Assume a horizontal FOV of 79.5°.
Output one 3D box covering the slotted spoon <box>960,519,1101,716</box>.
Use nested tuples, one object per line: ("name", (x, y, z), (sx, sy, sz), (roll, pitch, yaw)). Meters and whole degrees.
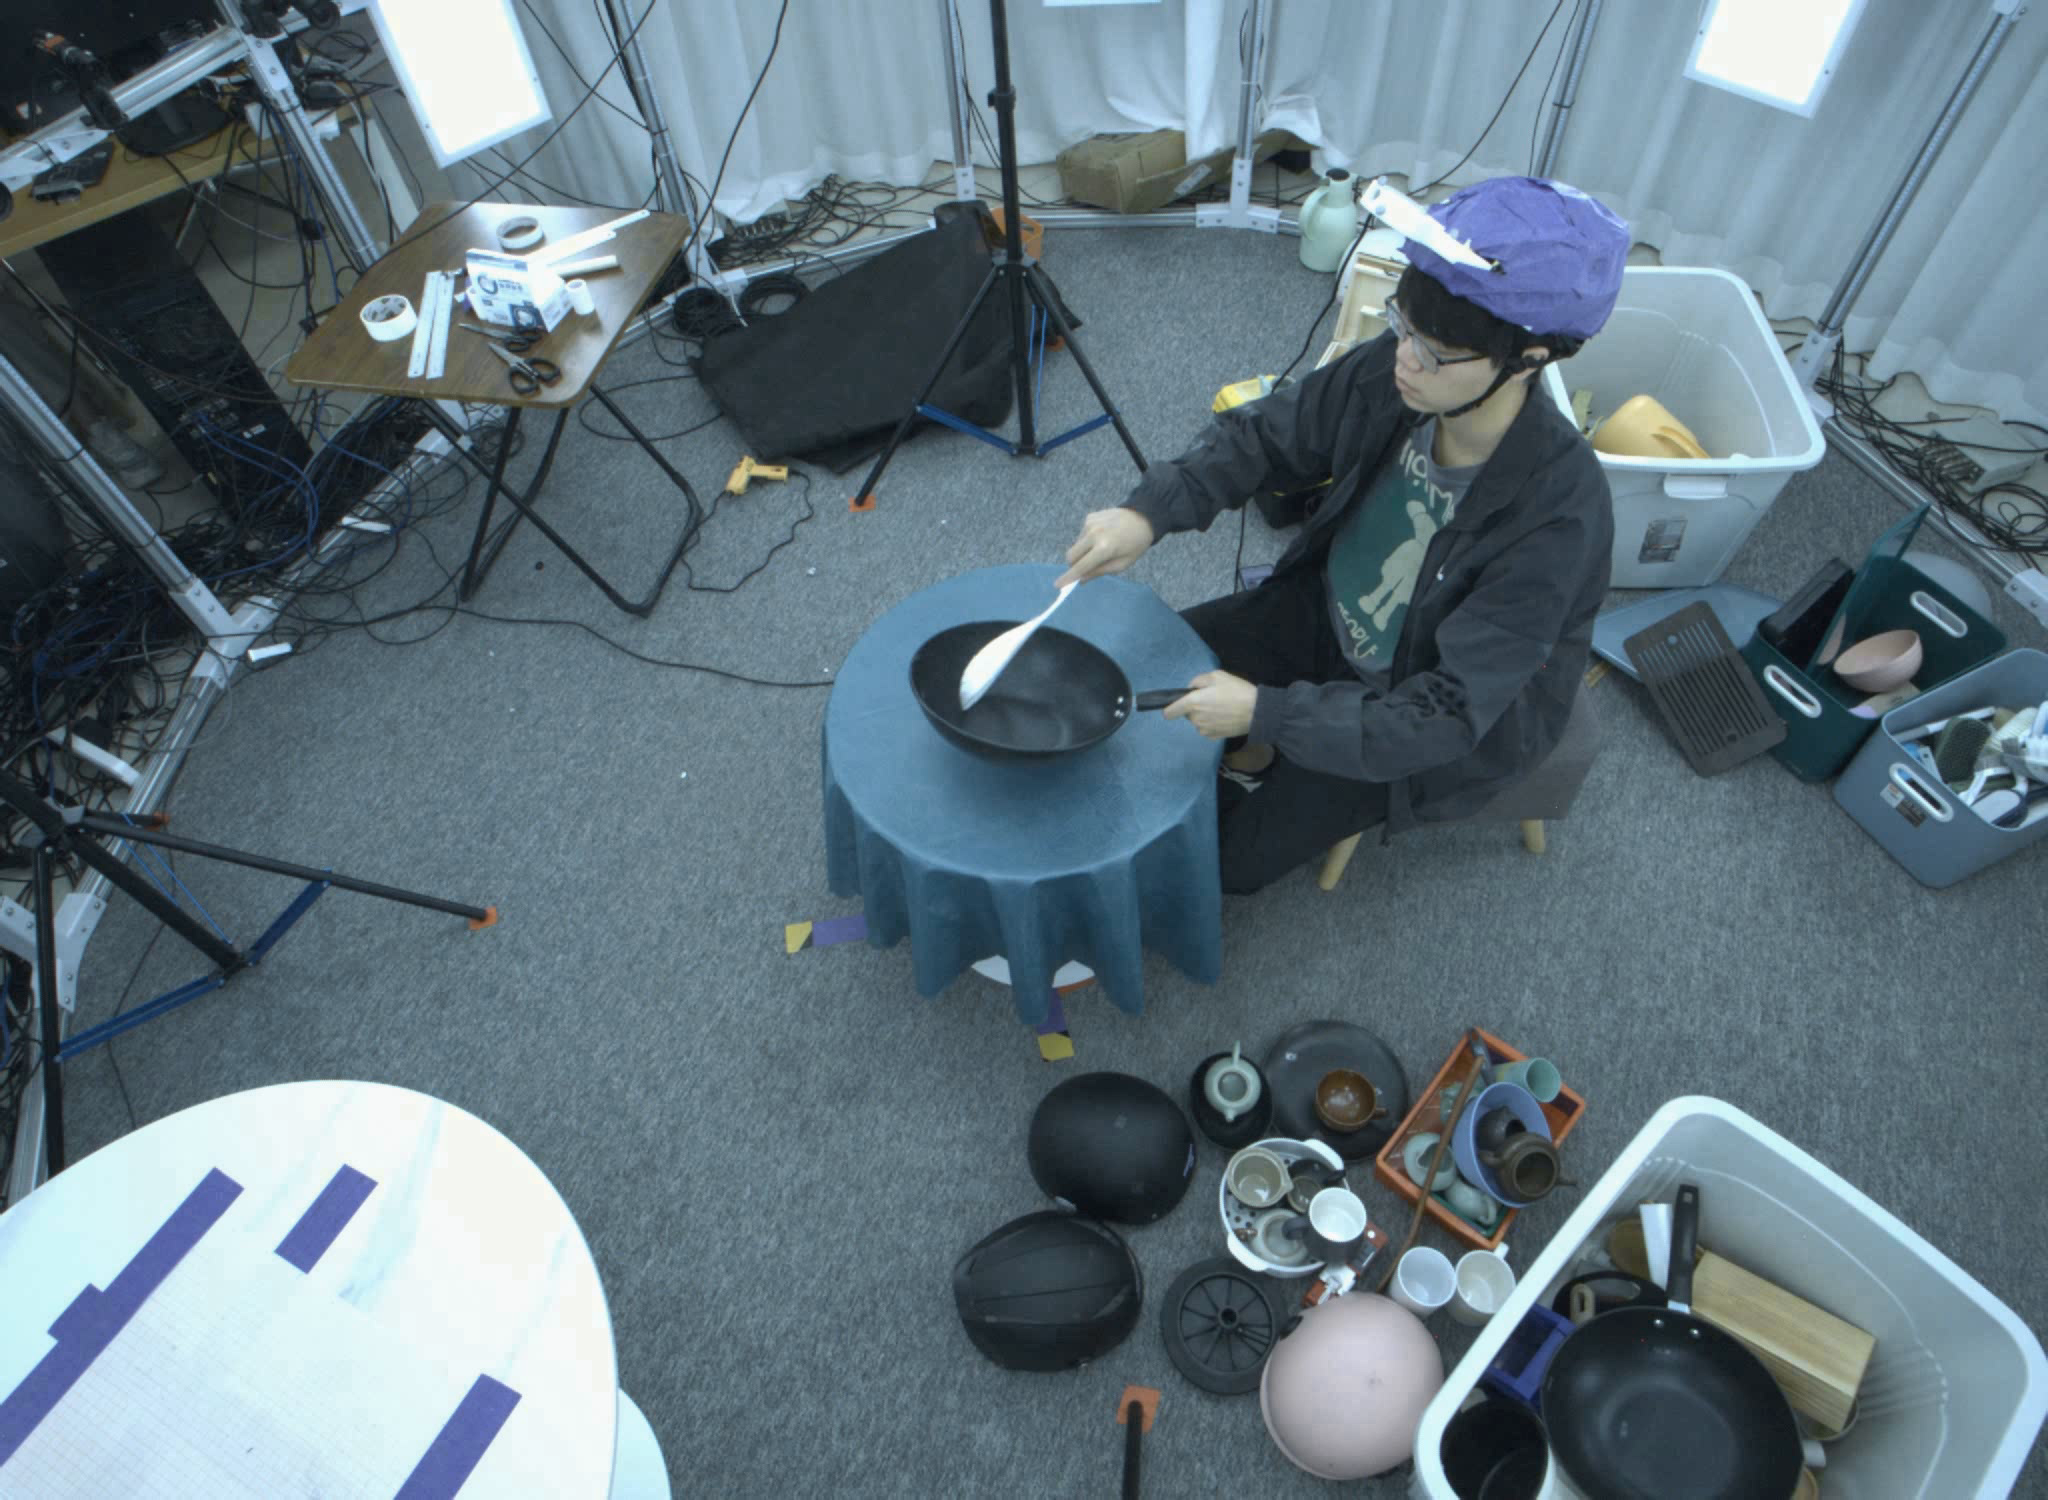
("slotted spoon", (0.013, -0.190, 1.729), (0.050, 0.136, 0.349), (41, 74, 1))

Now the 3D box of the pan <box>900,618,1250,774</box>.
("pan", (0.067, -0.061, 1.699), (0.479, 0.112, 0.307), (7, 40, -5))
